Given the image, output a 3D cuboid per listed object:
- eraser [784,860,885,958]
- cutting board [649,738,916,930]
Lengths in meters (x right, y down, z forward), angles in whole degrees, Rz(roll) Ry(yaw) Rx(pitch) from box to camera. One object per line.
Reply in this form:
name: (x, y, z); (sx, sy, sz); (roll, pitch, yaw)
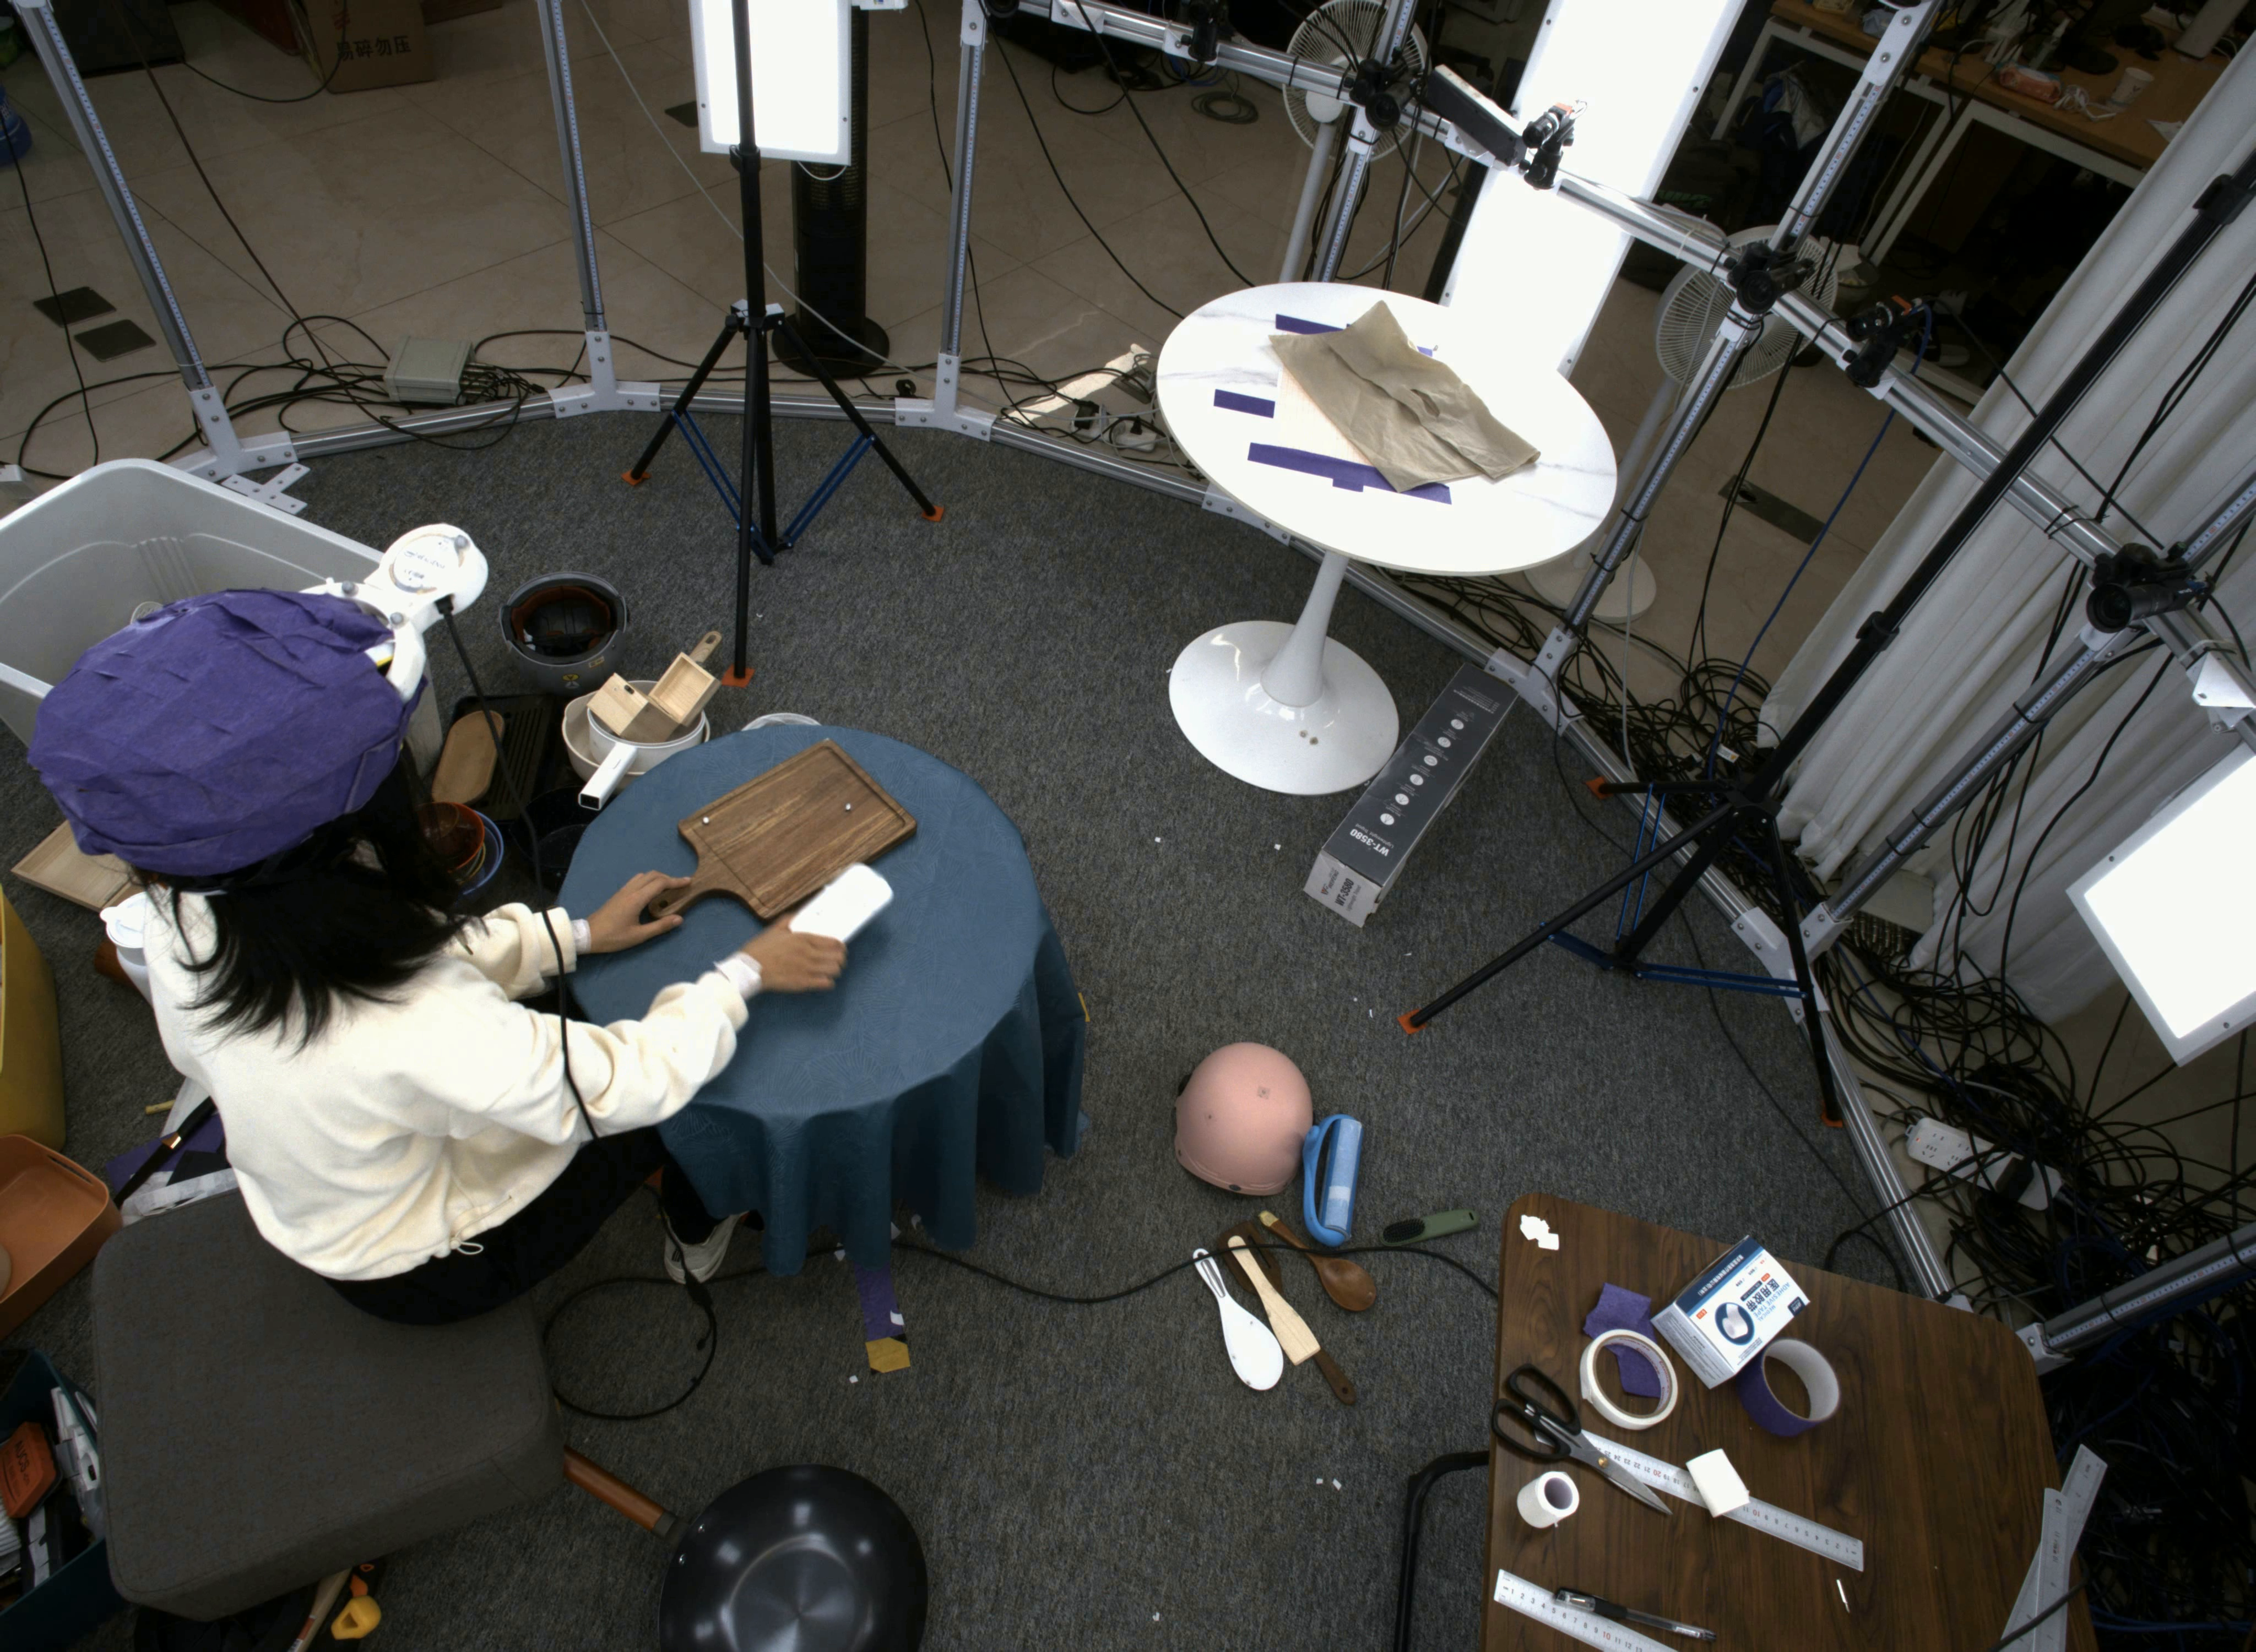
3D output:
eraser: (-0.360, 0.098, 1.590); (0.062, 0.035, 0.131); (38, 60, 9)
cutting board: (-0.468, 0.025, 1.675); (0.196, 0.023, 0.353); (41, 55, 17)
